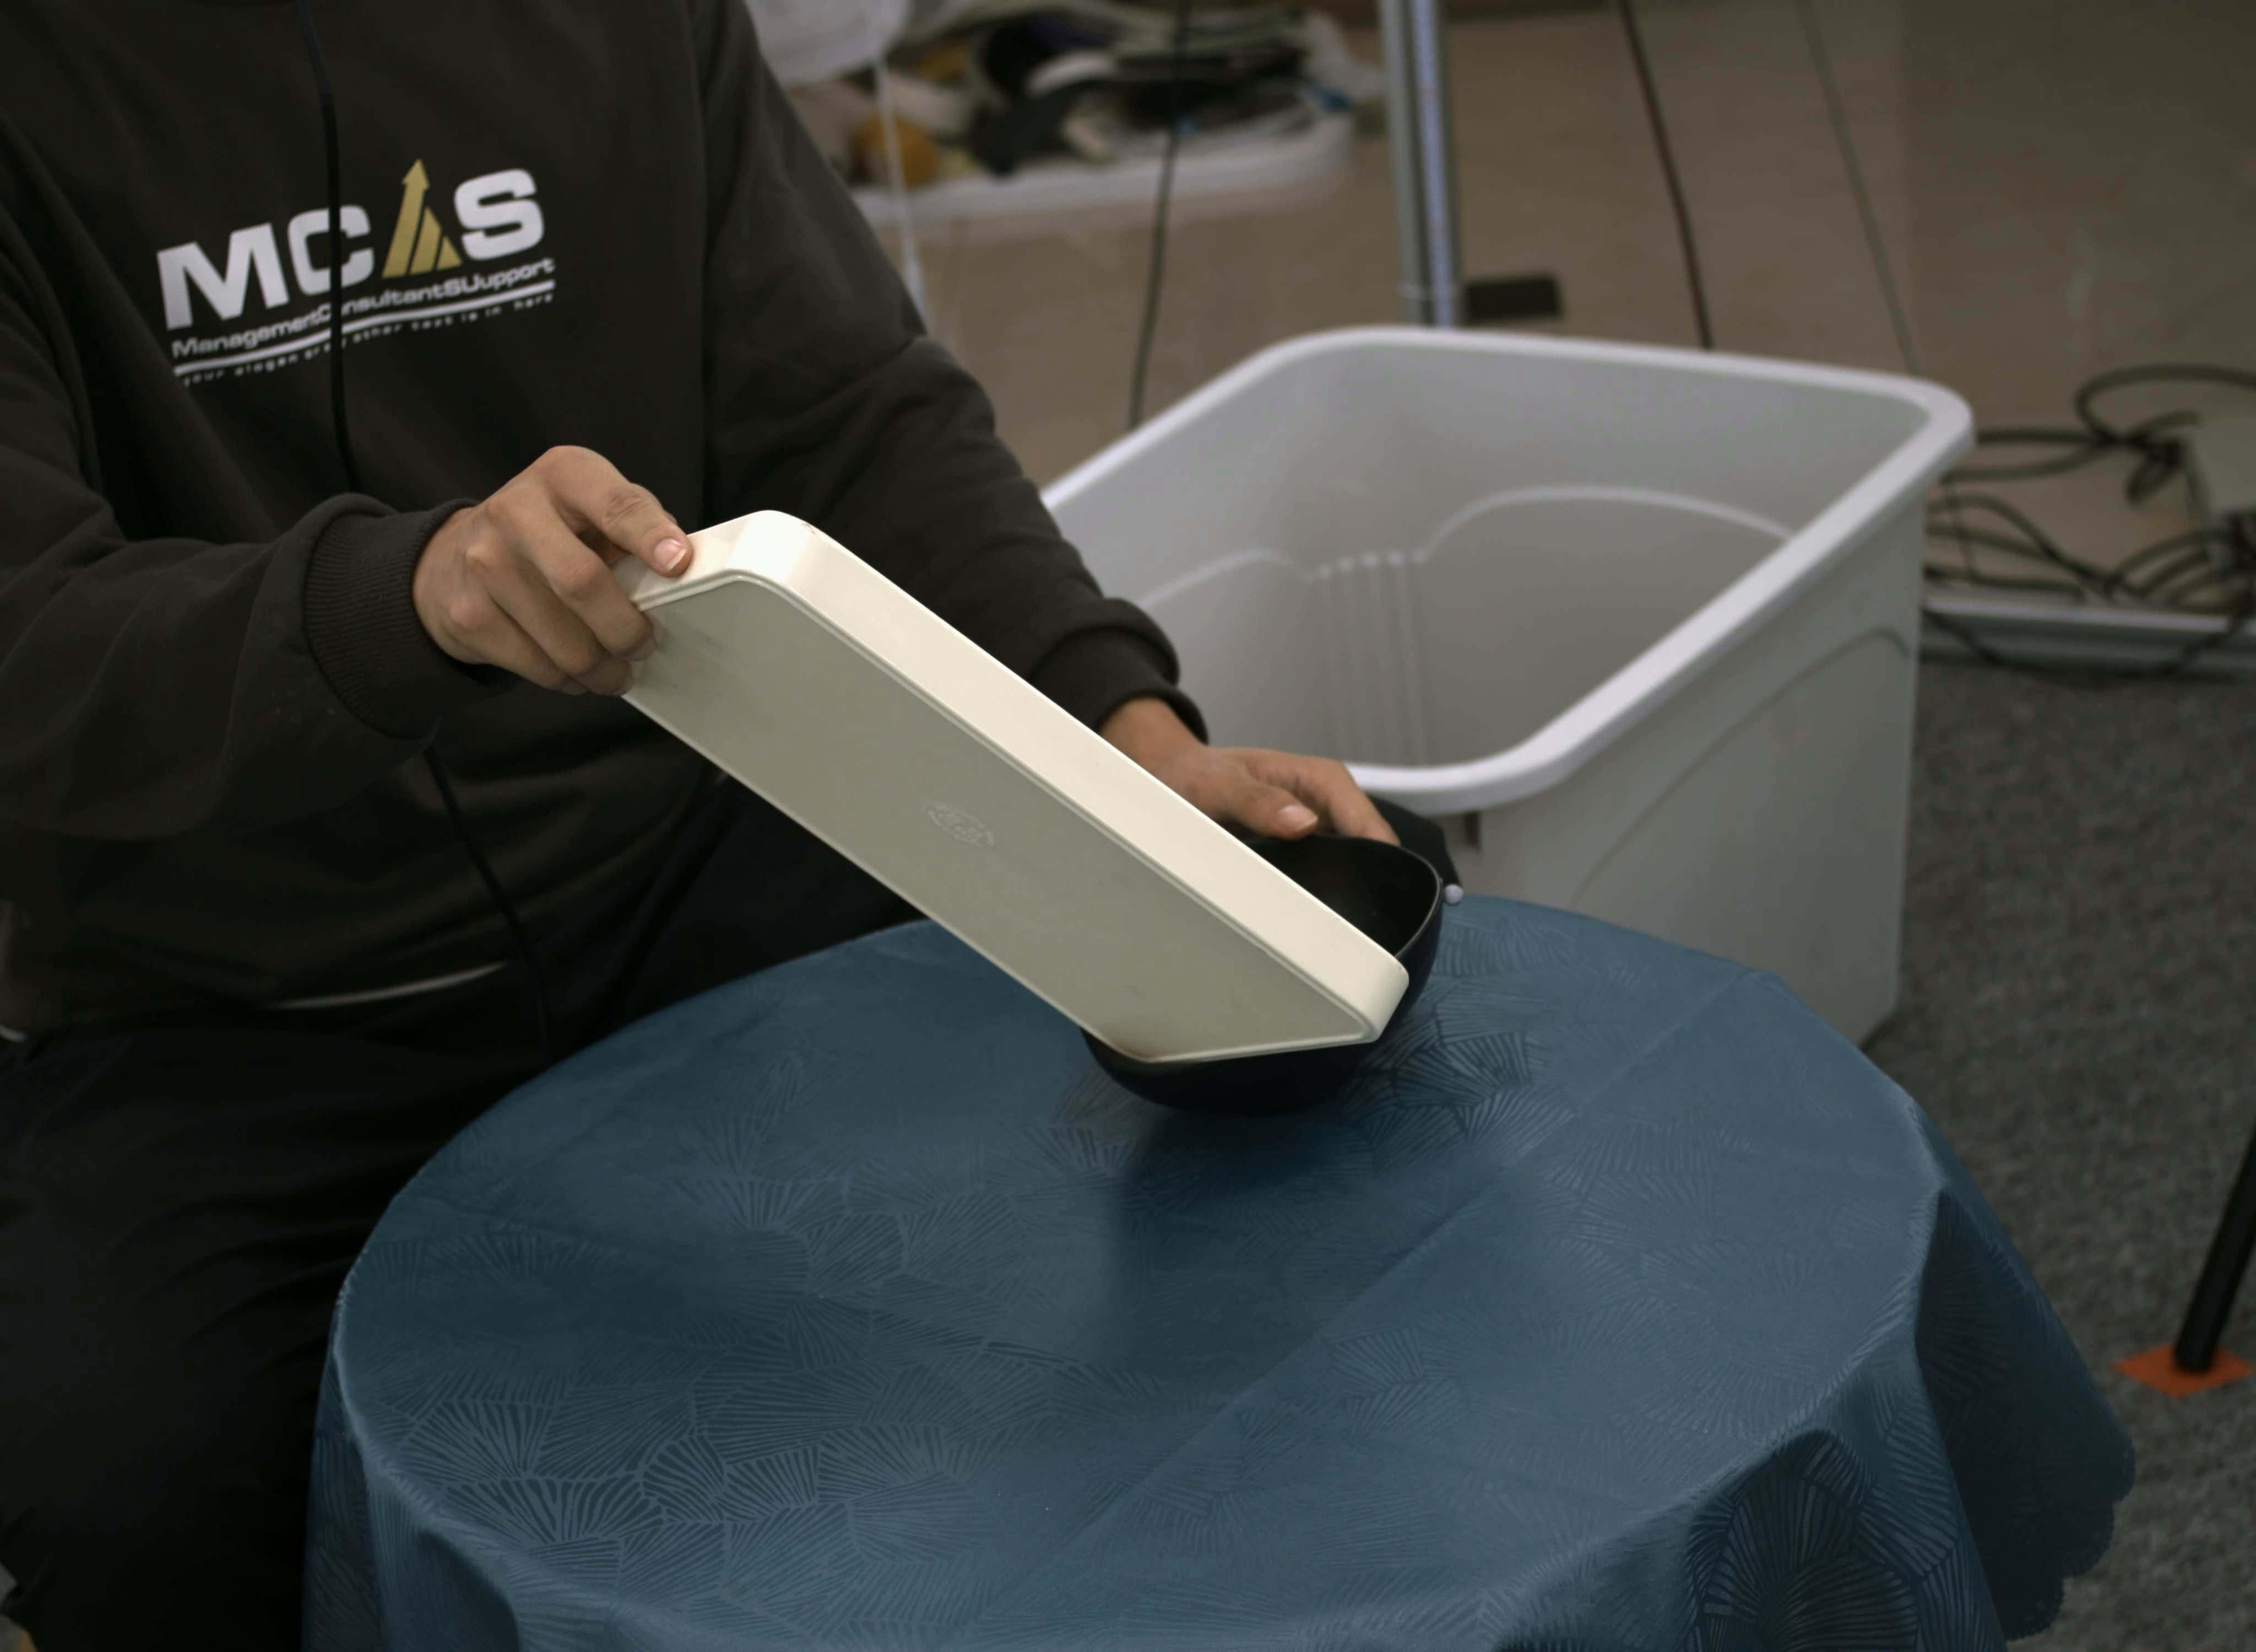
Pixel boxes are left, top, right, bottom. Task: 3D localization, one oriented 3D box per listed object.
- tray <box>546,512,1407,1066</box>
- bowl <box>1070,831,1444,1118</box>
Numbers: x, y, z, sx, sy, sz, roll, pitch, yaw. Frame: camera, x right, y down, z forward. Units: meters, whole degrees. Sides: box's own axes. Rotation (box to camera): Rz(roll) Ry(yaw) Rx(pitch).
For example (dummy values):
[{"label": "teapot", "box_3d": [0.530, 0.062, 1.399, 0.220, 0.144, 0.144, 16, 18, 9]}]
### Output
[{"label": "tray", "box_3d": [-0.056, -0.007, 2.042, 0.192, 0.302, 0.027, -10, 48, 60]}, {"label": "bowl", "box_3d": [0.055, 0.068, 2.207, 0.136, 0.068, 0.168, 9, 37, 35]}]
